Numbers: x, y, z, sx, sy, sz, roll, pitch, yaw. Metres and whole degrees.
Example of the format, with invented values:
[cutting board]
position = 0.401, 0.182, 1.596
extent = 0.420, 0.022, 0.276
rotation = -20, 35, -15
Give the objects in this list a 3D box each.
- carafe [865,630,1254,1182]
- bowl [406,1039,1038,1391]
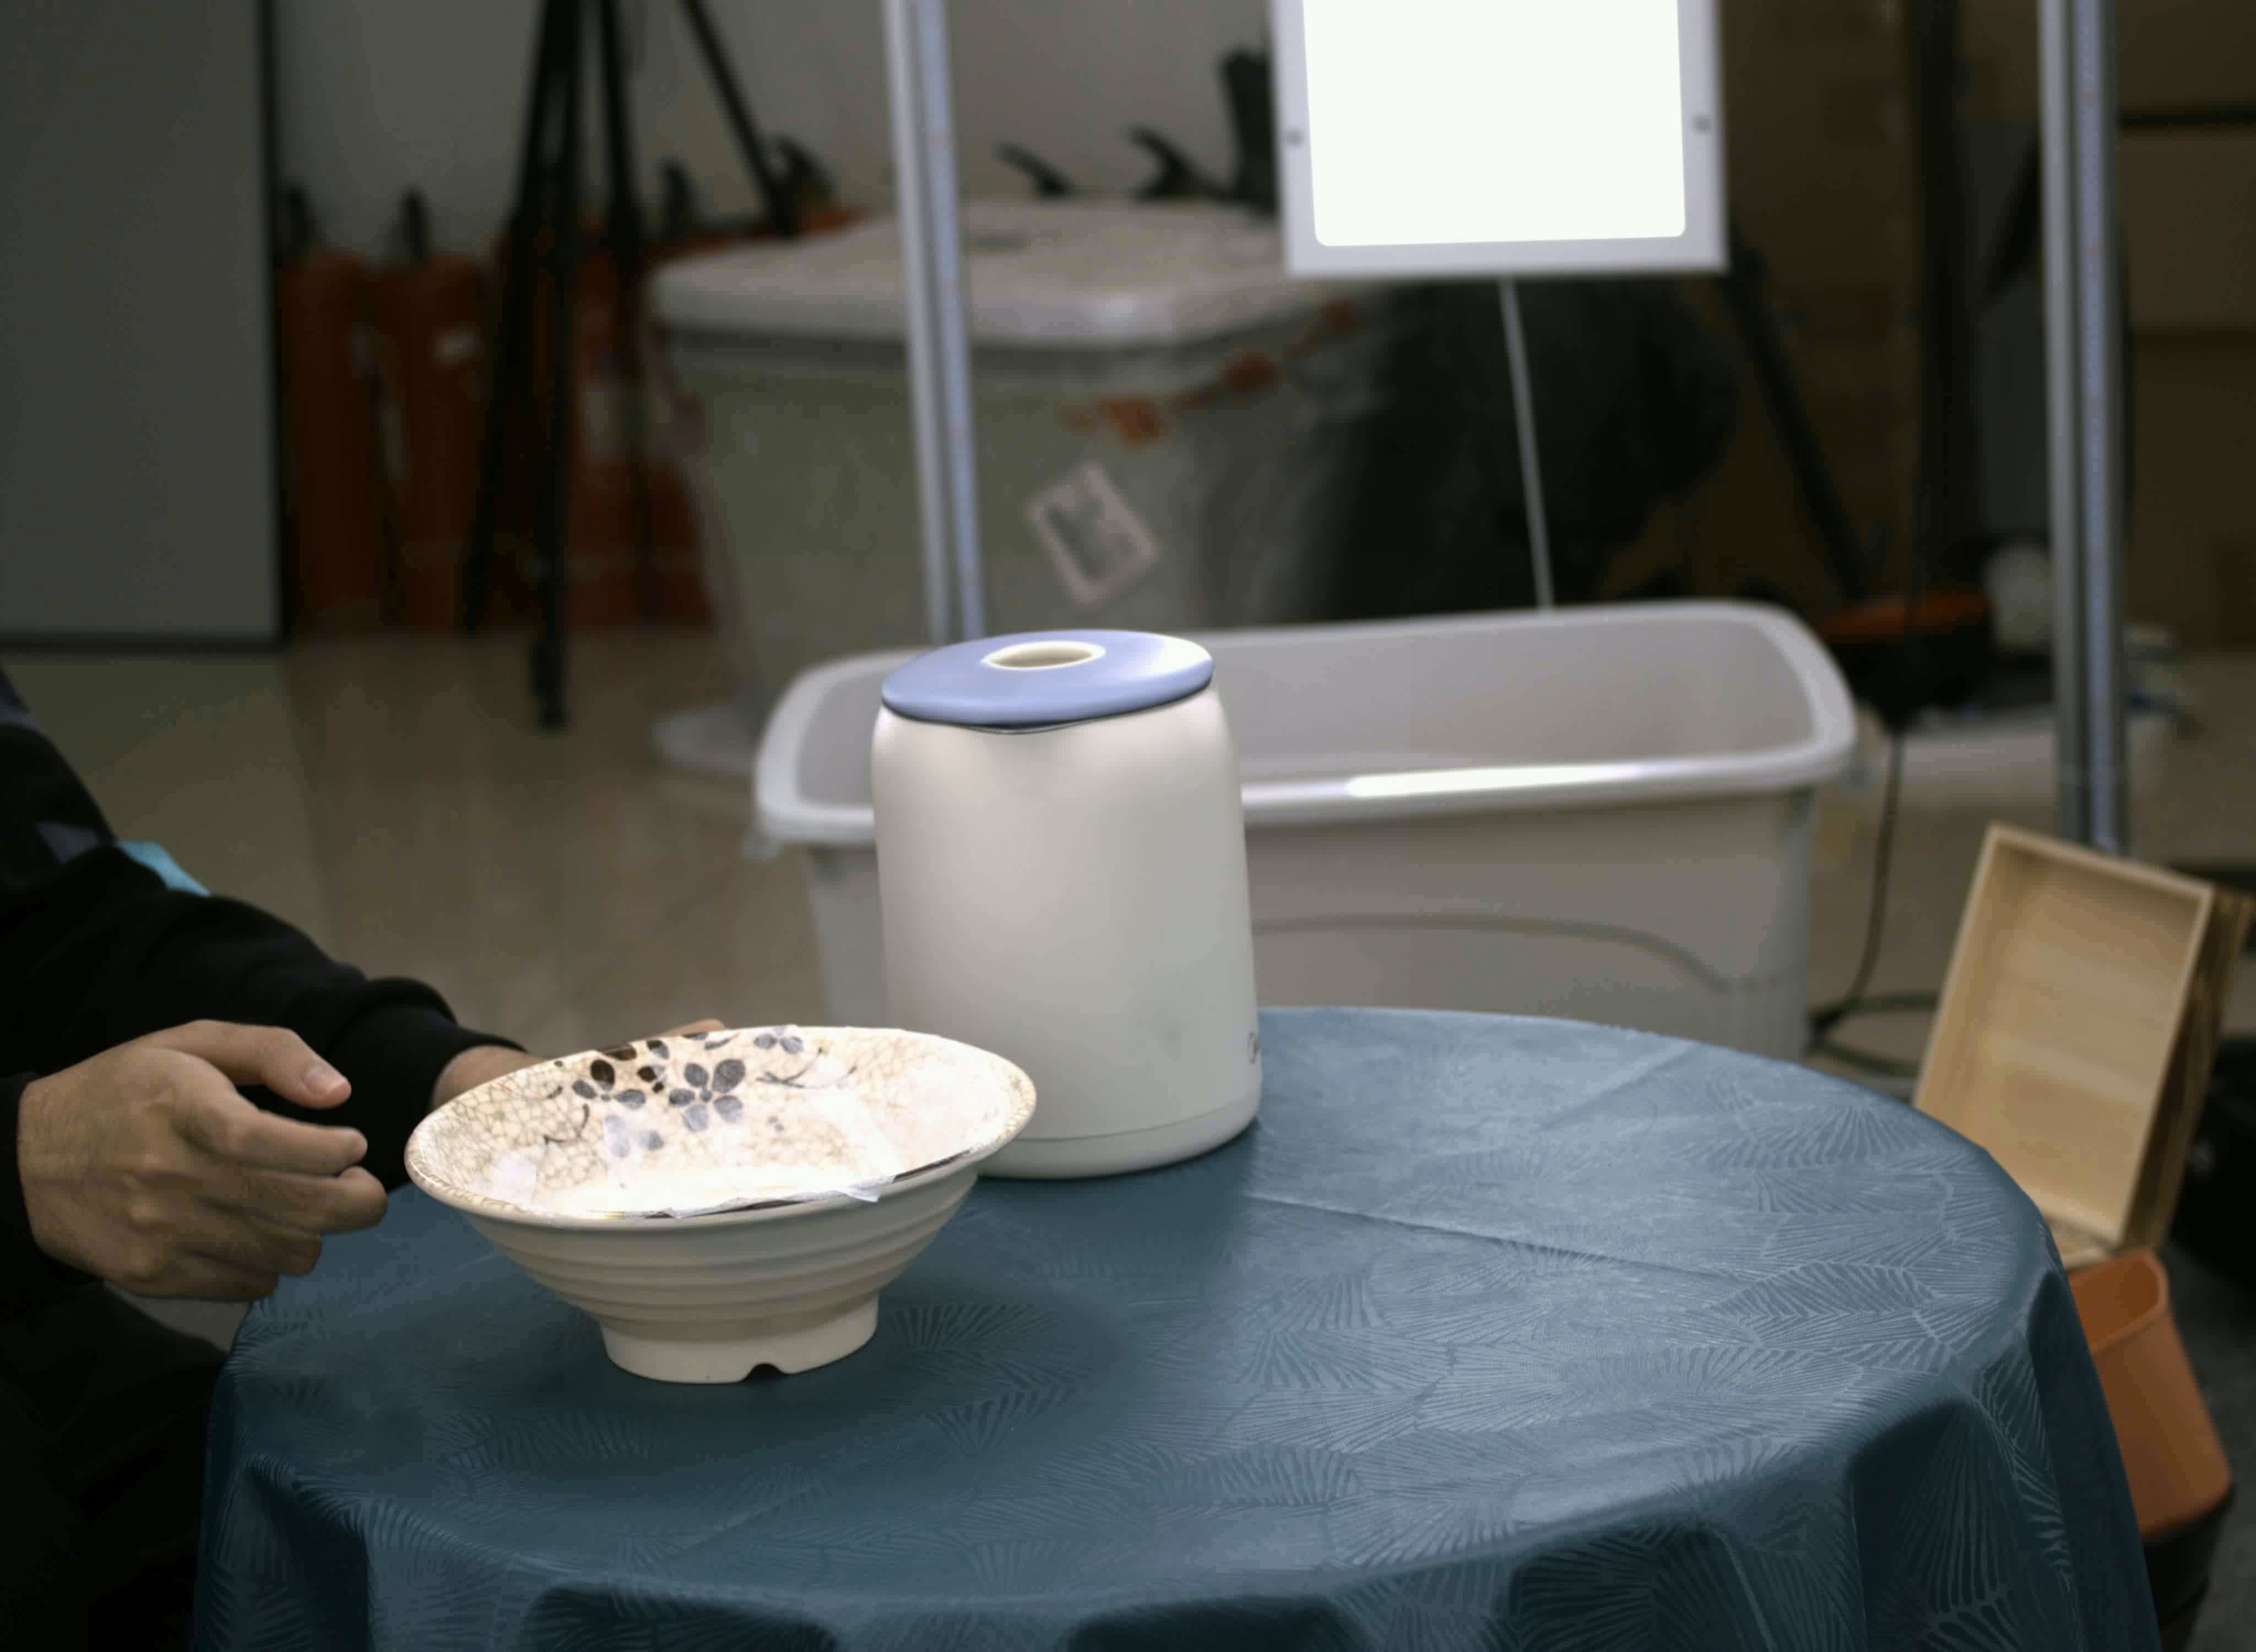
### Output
[carafe]
position = -0.021, 0.022, 1.972
extent = 0.133, 0.183, 0.189
rotation = -2, 12, 7
[bowl]
position = -0.126, 0.131, 1.768
extent = 0.203, 0.078, 0.204
rotation = -7, 12, 0
